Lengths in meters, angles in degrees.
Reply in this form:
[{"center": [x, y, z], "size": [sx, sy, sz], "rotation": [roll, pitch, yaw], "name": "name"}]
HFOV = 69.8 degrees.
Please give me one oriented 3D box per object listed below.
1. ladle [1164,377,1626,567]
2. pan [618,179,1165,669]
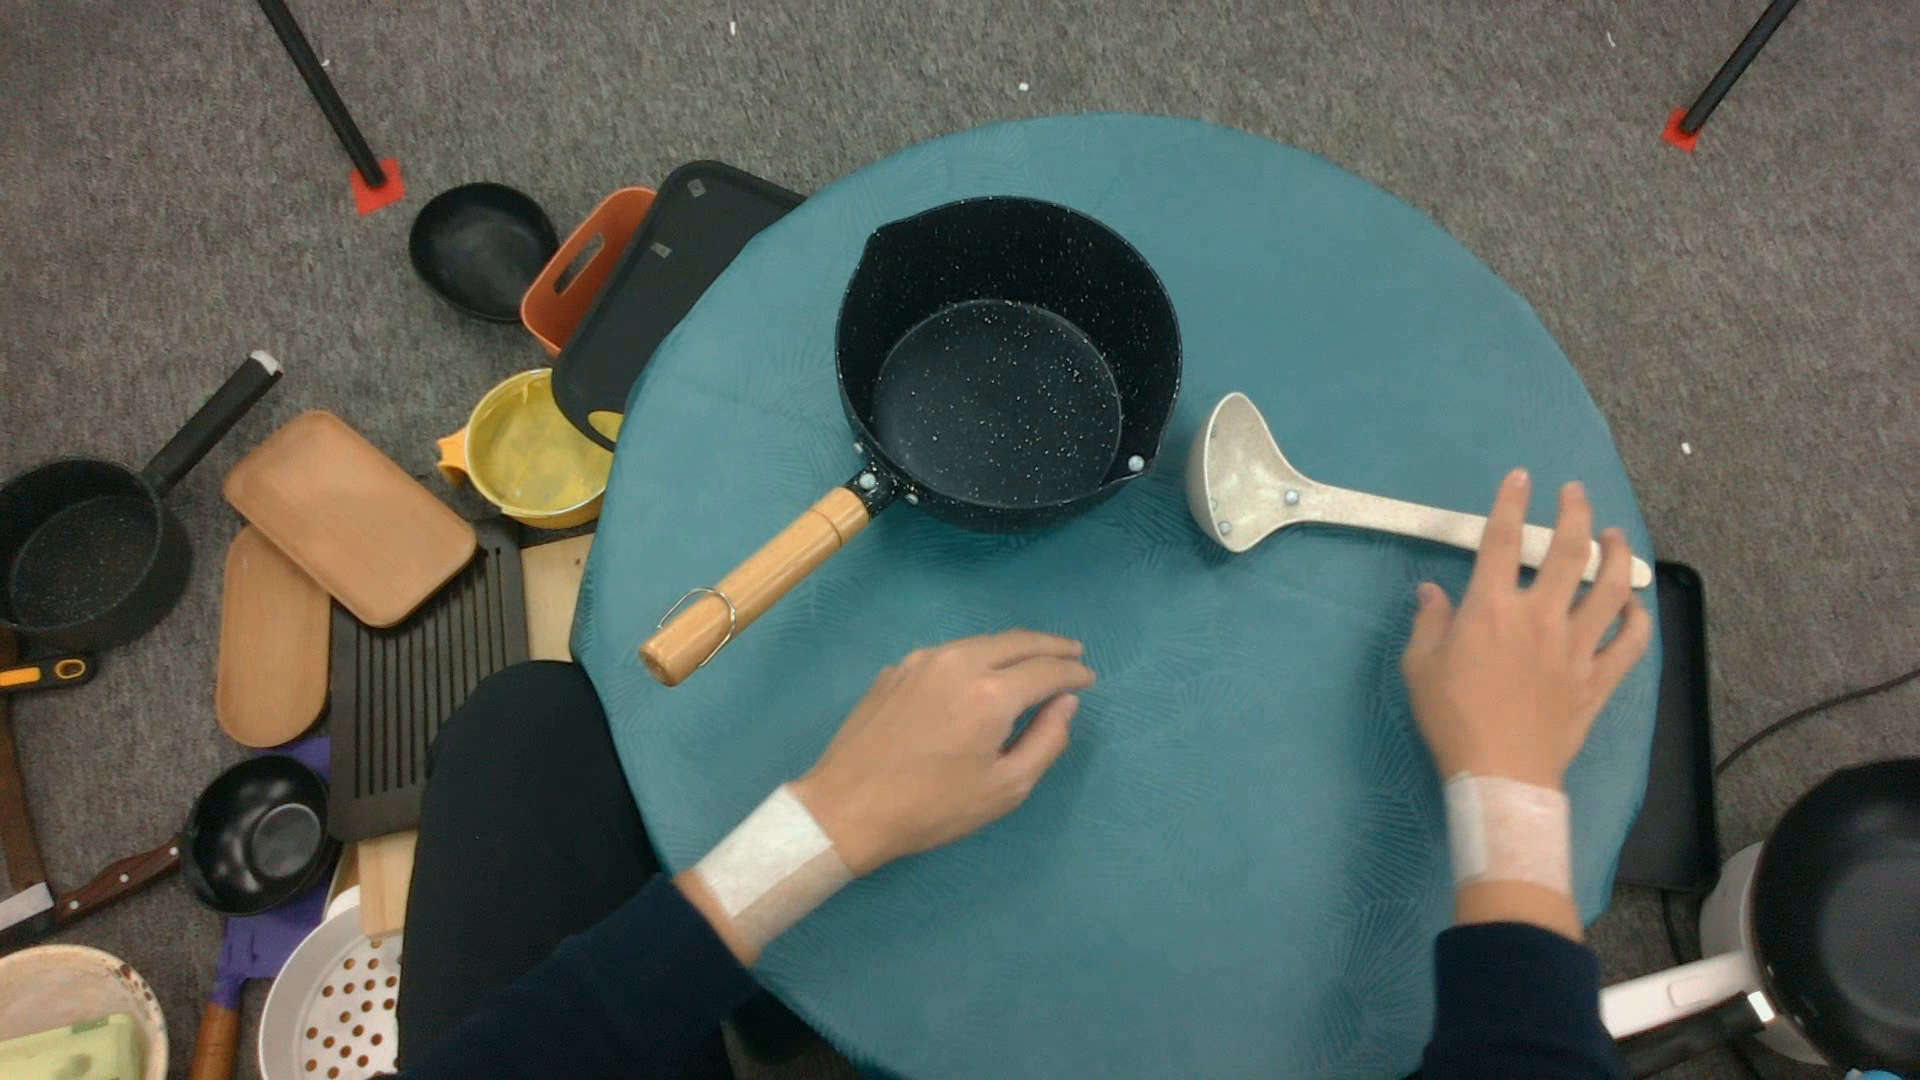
[{"center": [0.248, -0.027, 0.760], "size": [0.275, 0.069, 0.089], "rotation": [10, 65, 0], "name": "ladle"}, {"center": [-0.038, -0.045, 0.724], "size": [0.207, 0.108, 0.344], "rotation": [41, 71, 9], "name": "pan"}]
